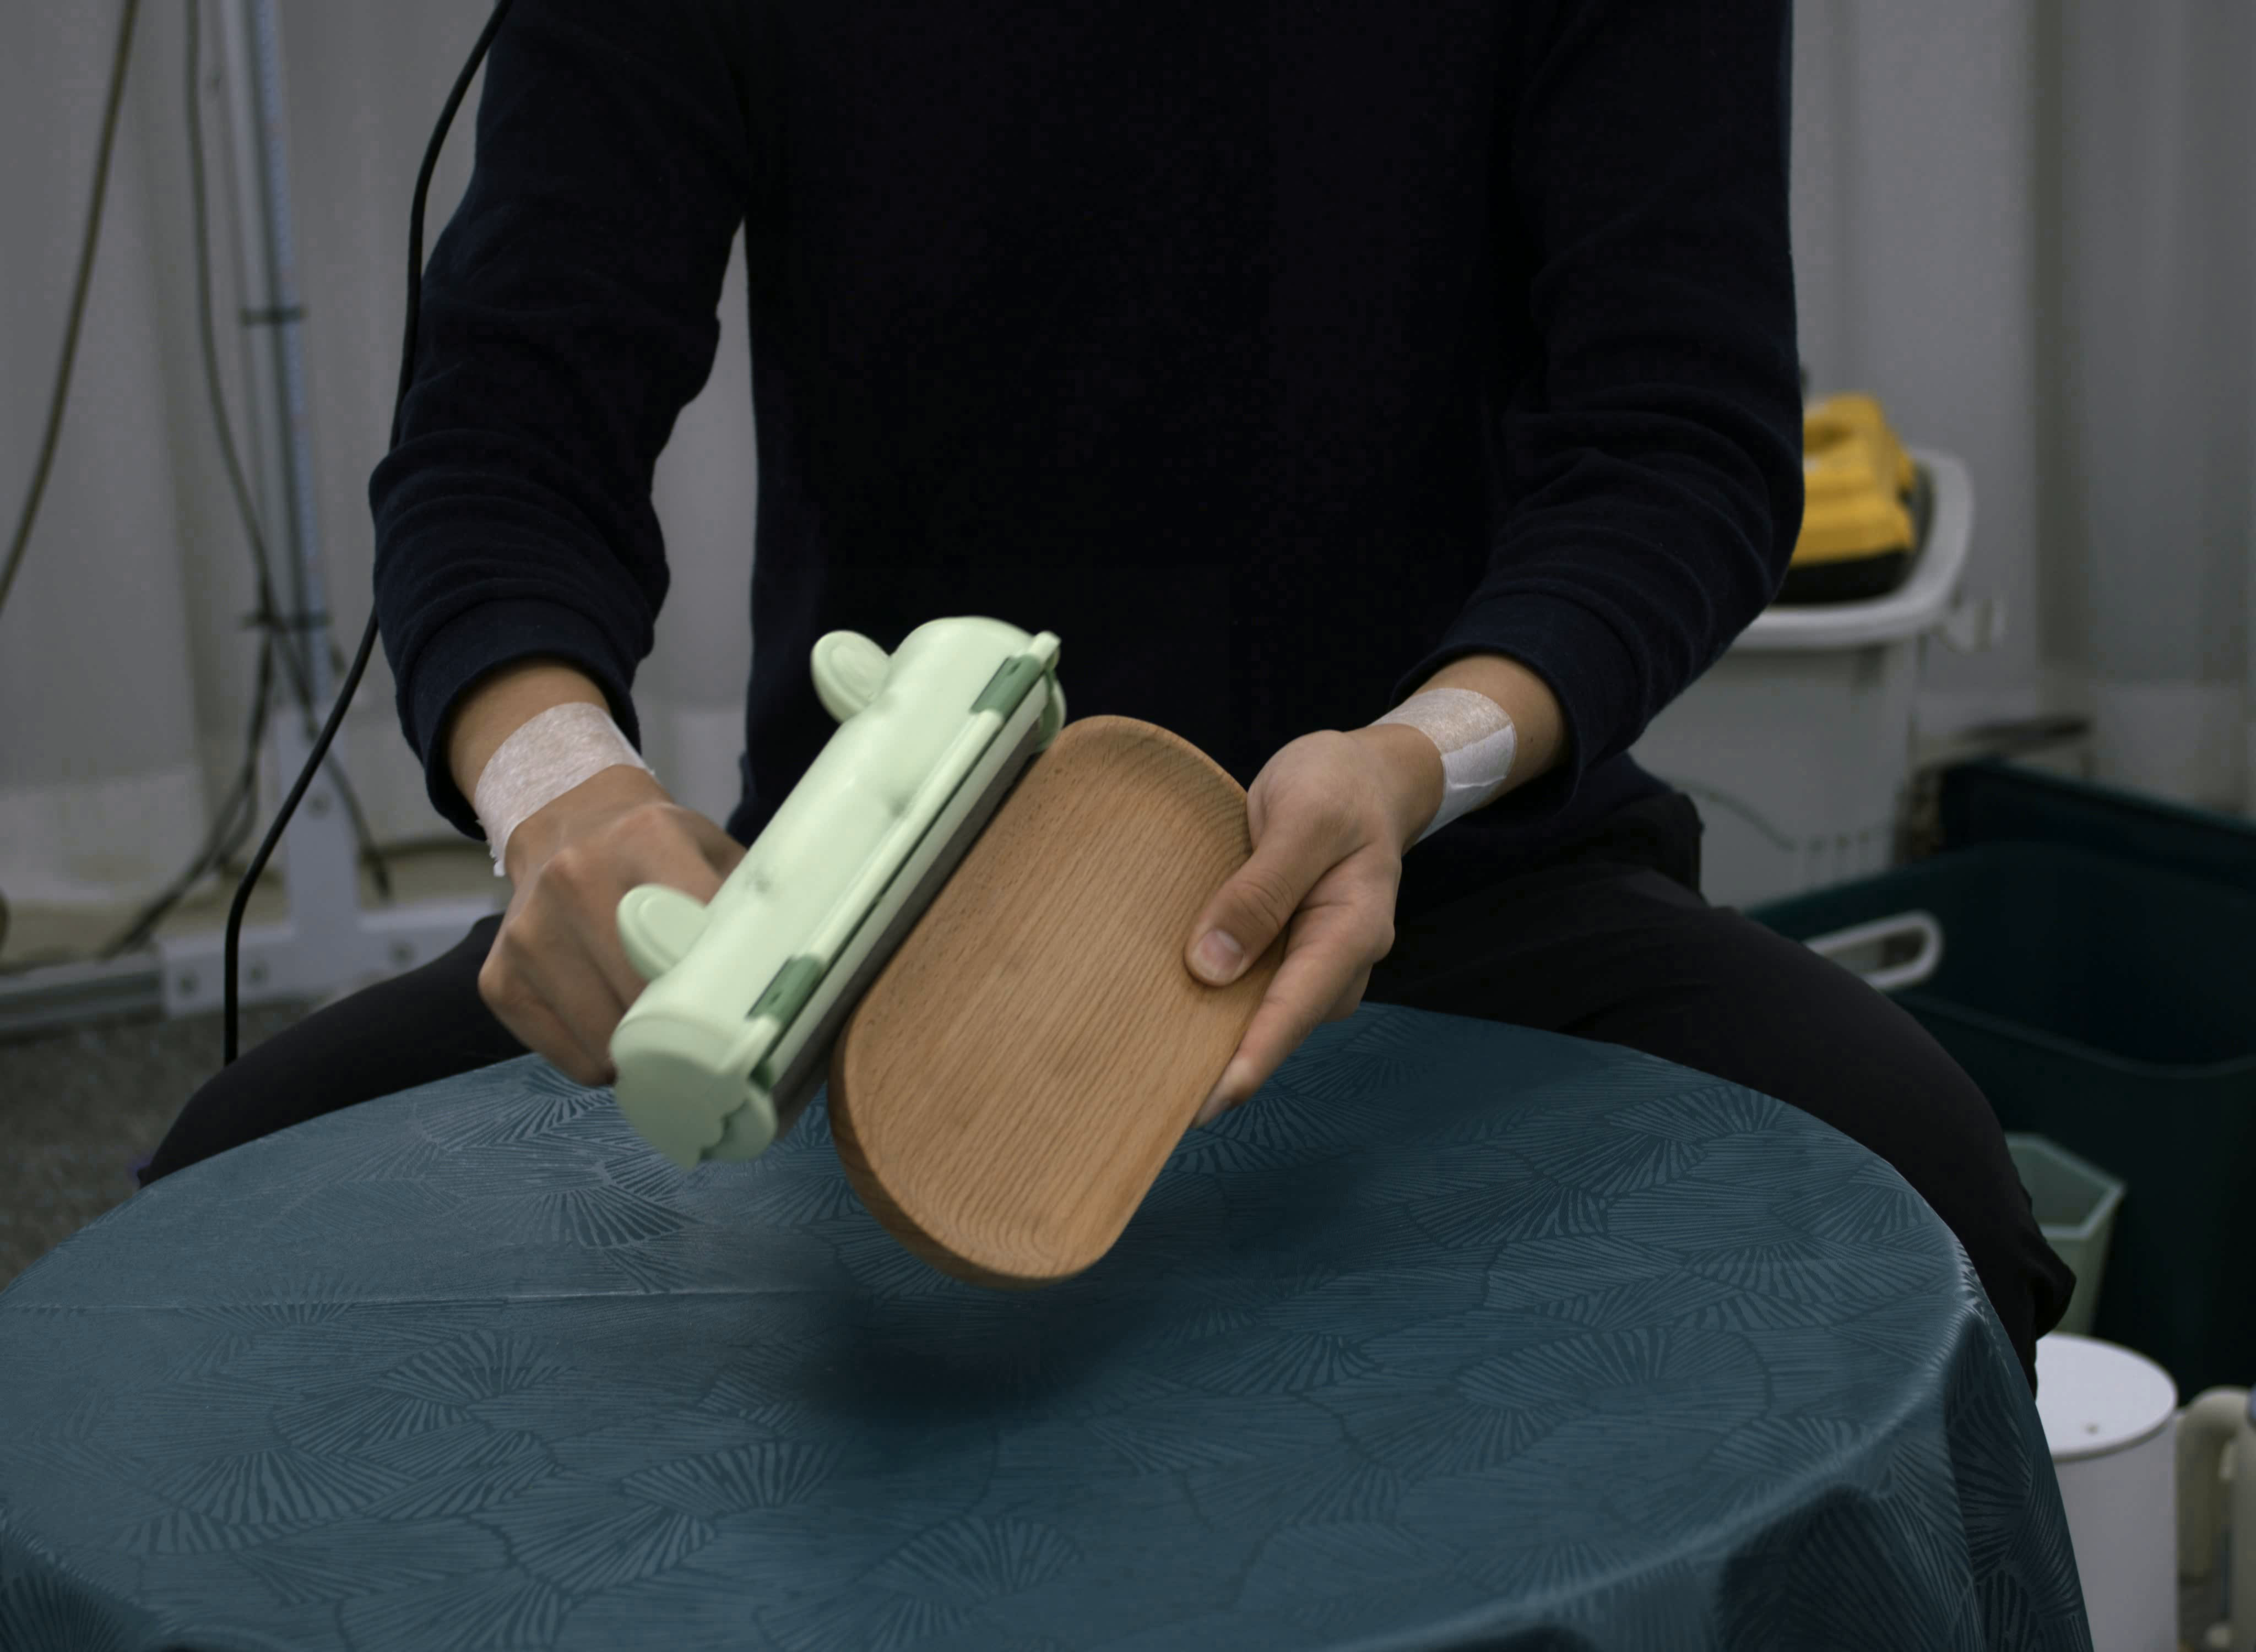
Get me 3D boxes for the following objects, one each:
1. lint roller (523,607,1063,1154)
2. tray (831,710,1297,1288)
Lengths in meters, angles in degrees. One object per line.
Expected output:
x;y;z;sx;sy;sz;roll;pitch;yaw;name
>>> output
-0.127;0.015;1.608;0.183;0.081;0.200;-10;32;39;lint roller
-0.017;0.049;1.599;0.020;0.101;0.233;-39;11;39;tray
